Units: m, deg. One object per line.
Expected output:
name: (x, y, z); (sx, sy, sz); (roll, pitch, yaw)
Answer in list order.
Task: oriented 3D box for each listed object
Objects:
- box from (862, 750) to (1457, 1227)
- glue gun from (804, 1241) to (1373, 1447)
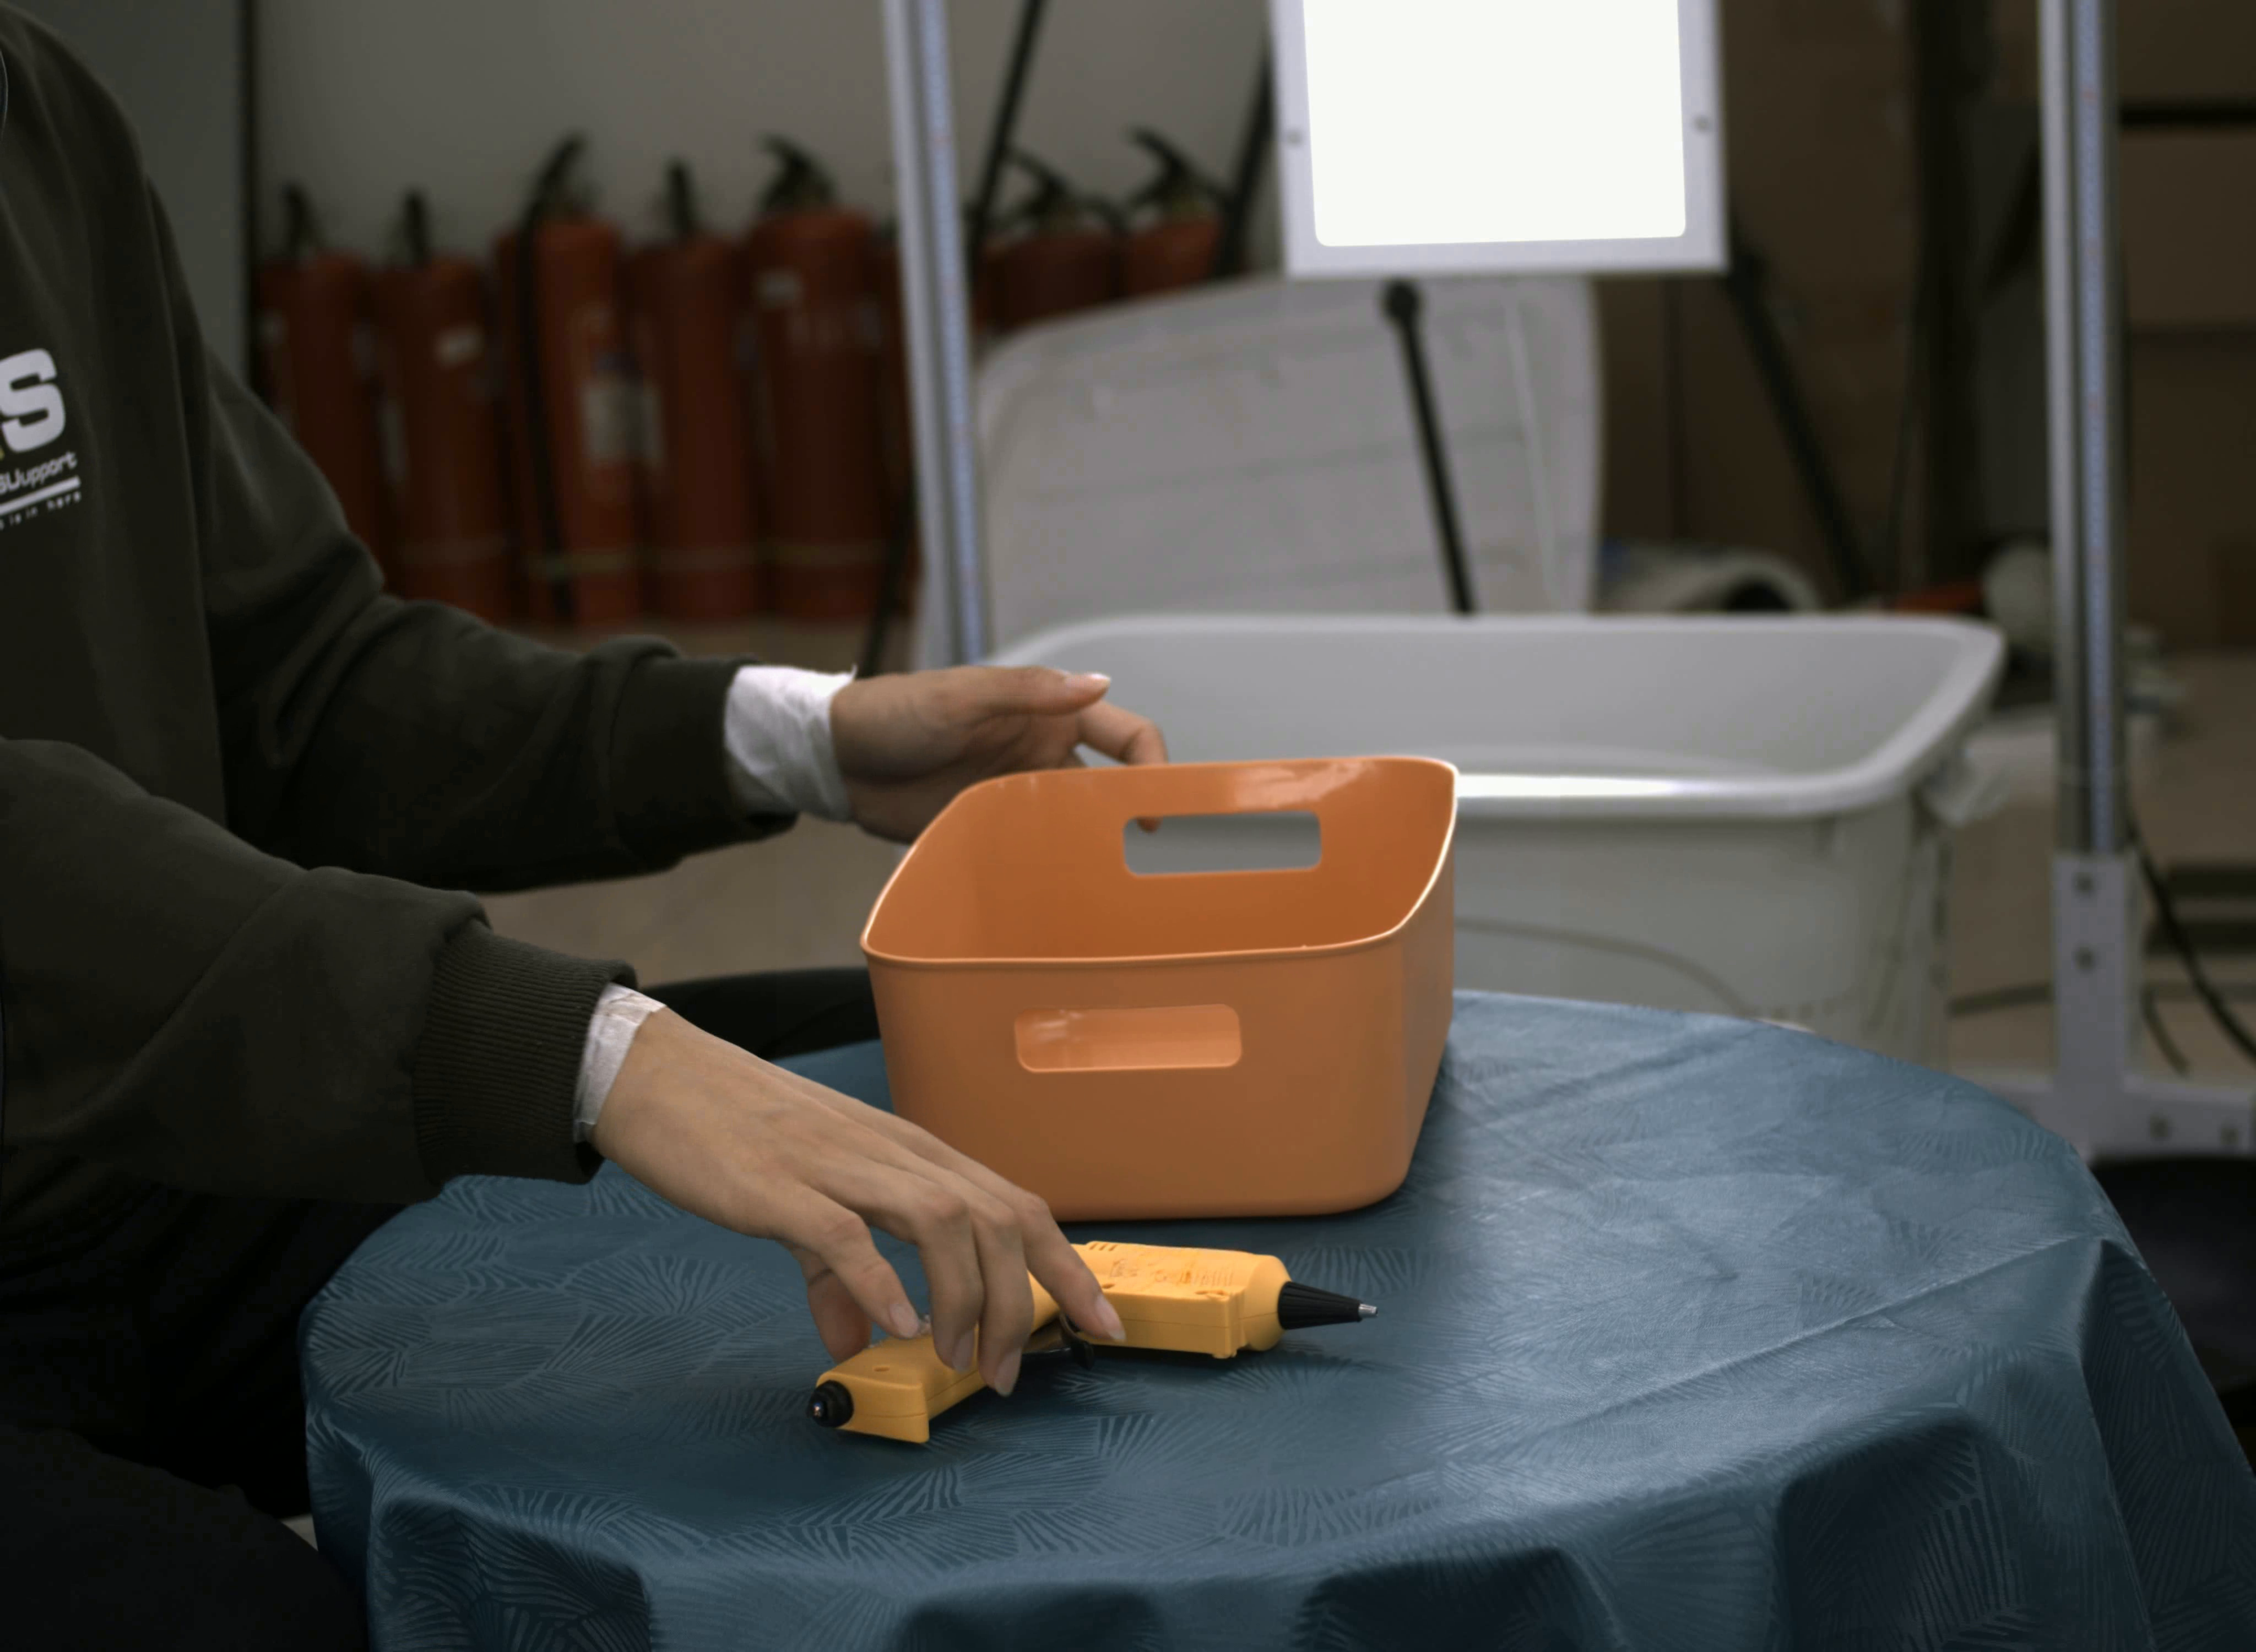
box: (0.019, 0.057, 1.962); (0.200, 0.103, 0.270); (-3, 14, 9)
glue gun: (-0.007, 0.162, 1.706); (0.154, 0.031, 0.130); (-1, 15, 24)
